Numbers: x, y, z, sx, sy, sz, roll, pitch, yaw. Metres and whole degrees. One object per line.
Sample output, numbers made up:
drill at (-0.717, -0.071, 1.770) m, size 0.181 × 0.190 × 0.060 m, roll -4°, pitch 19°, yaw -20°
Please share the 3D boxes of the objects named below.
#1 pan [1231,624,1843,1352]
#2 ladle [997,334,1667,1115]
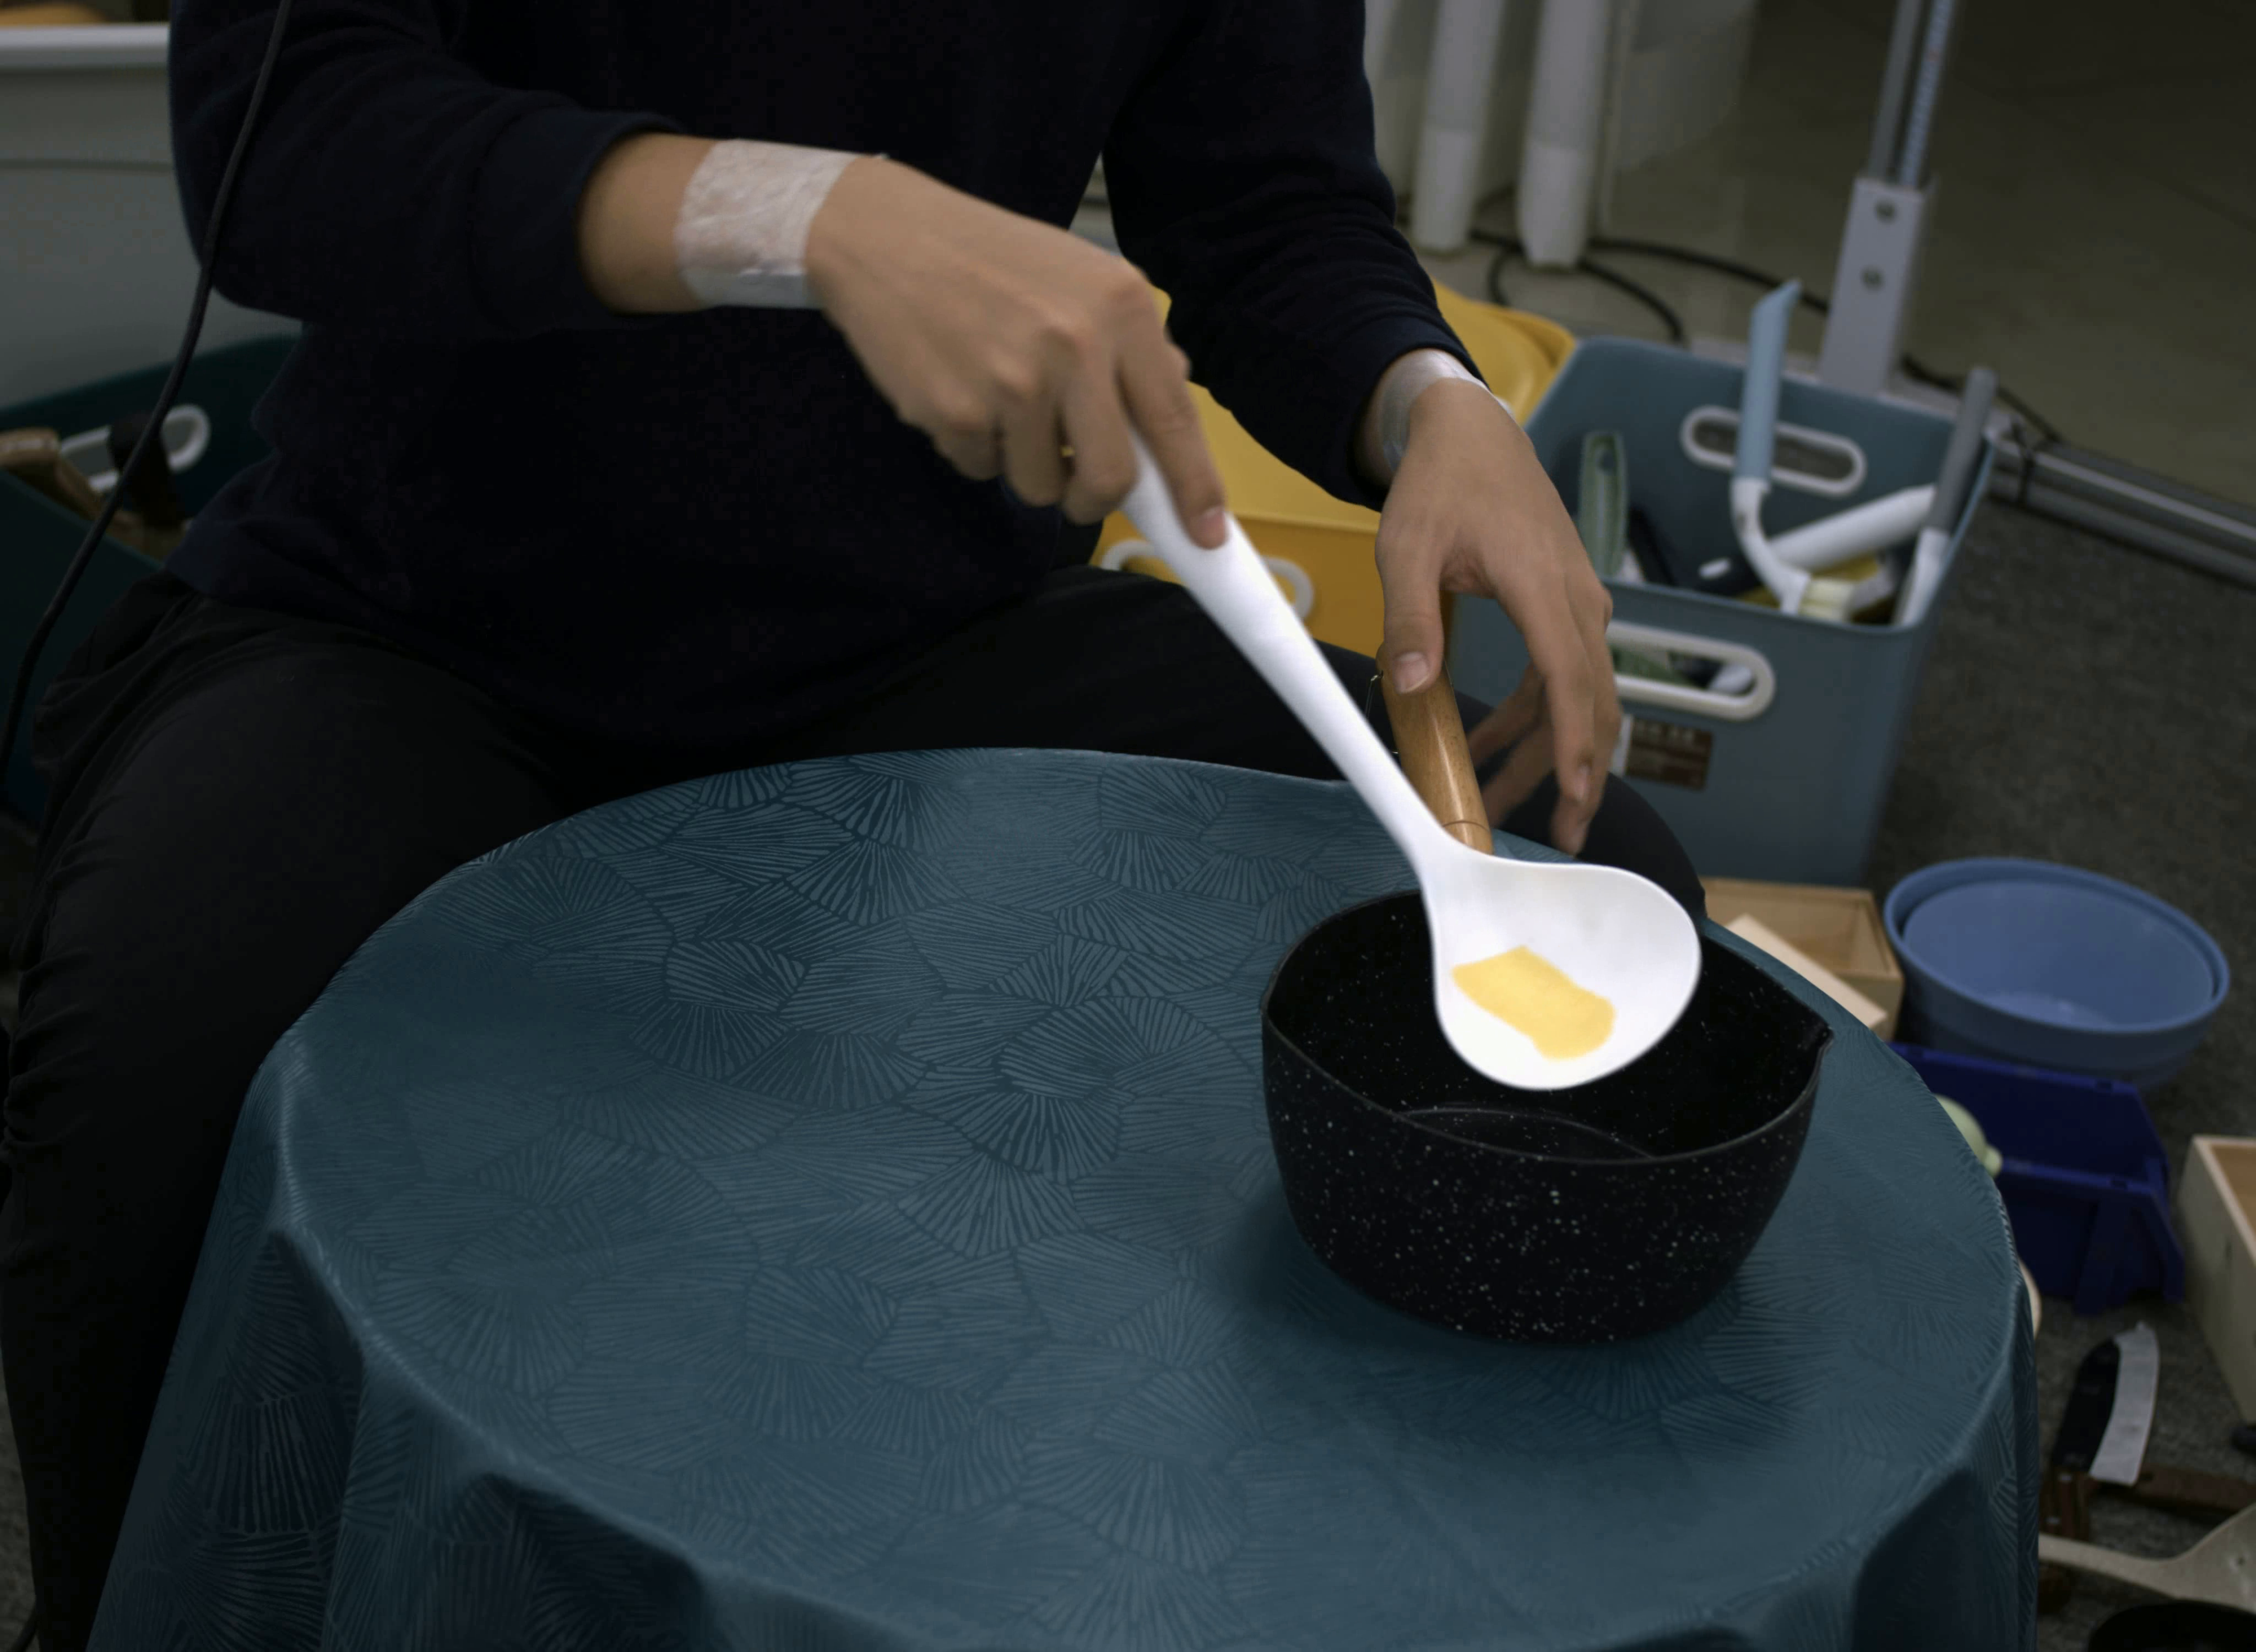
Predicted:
pan at (0.122, 0.053, 1.851) m, size 0.206 × 0.108 × 0.345 m, roll 0°, pitch 29°, yaw -11°
ladle at (0.060, -0.036, 1.714) m, size 0.090 × 0.293 × 0.070 m, roll -38°, pitch 5°, yaw -8°
